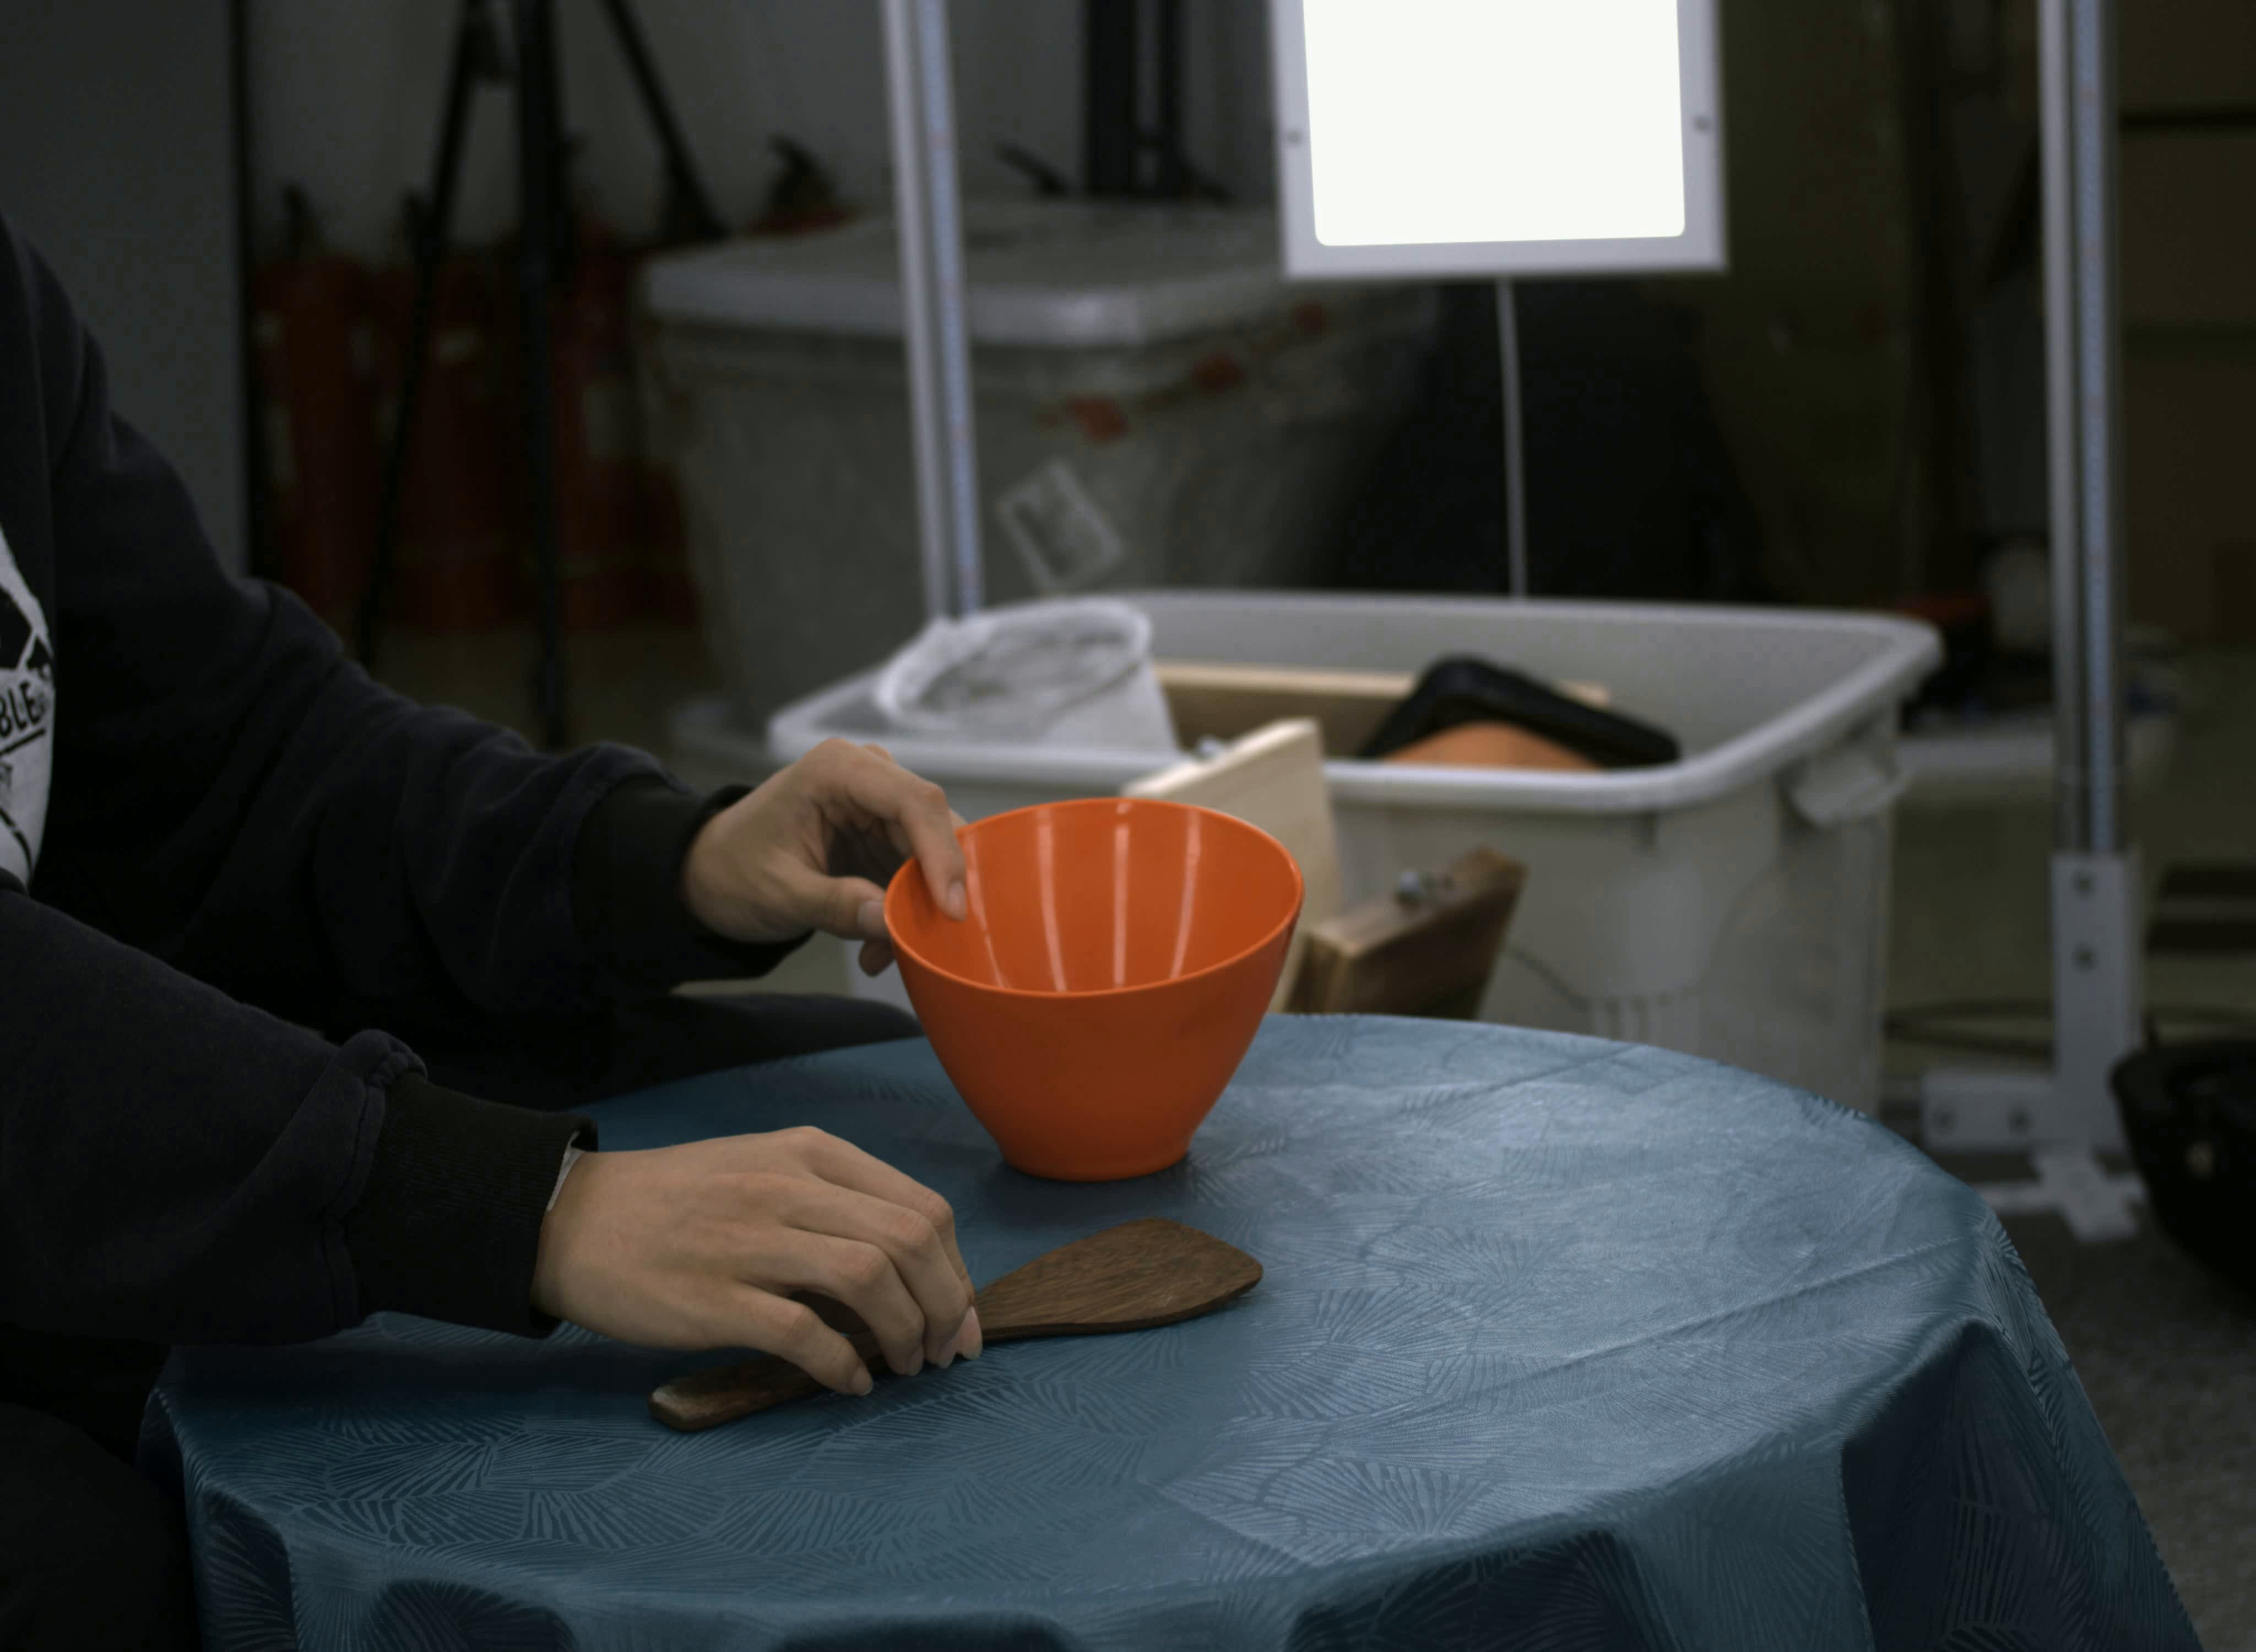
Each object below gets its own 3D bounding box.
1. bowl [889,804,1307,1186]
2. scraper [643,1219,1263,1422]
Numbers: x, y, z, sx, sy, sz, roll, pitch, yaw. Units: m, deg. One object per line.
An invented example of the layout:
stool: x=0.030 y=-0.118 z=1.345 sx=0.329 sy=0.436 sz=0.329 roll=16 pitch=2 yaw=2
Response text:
bowl: x=-0.010 y=0.063 z=1.937 sx=0.147 sy=0.105 sz=0.148 roll=-2 pitch=17 yaw=-1
scraper: x=-0.058 y=0.160 z=1.756 sx=0.206 sy=0.011 sz=0.077 roll=-13 pitch=18 yaw=-29
